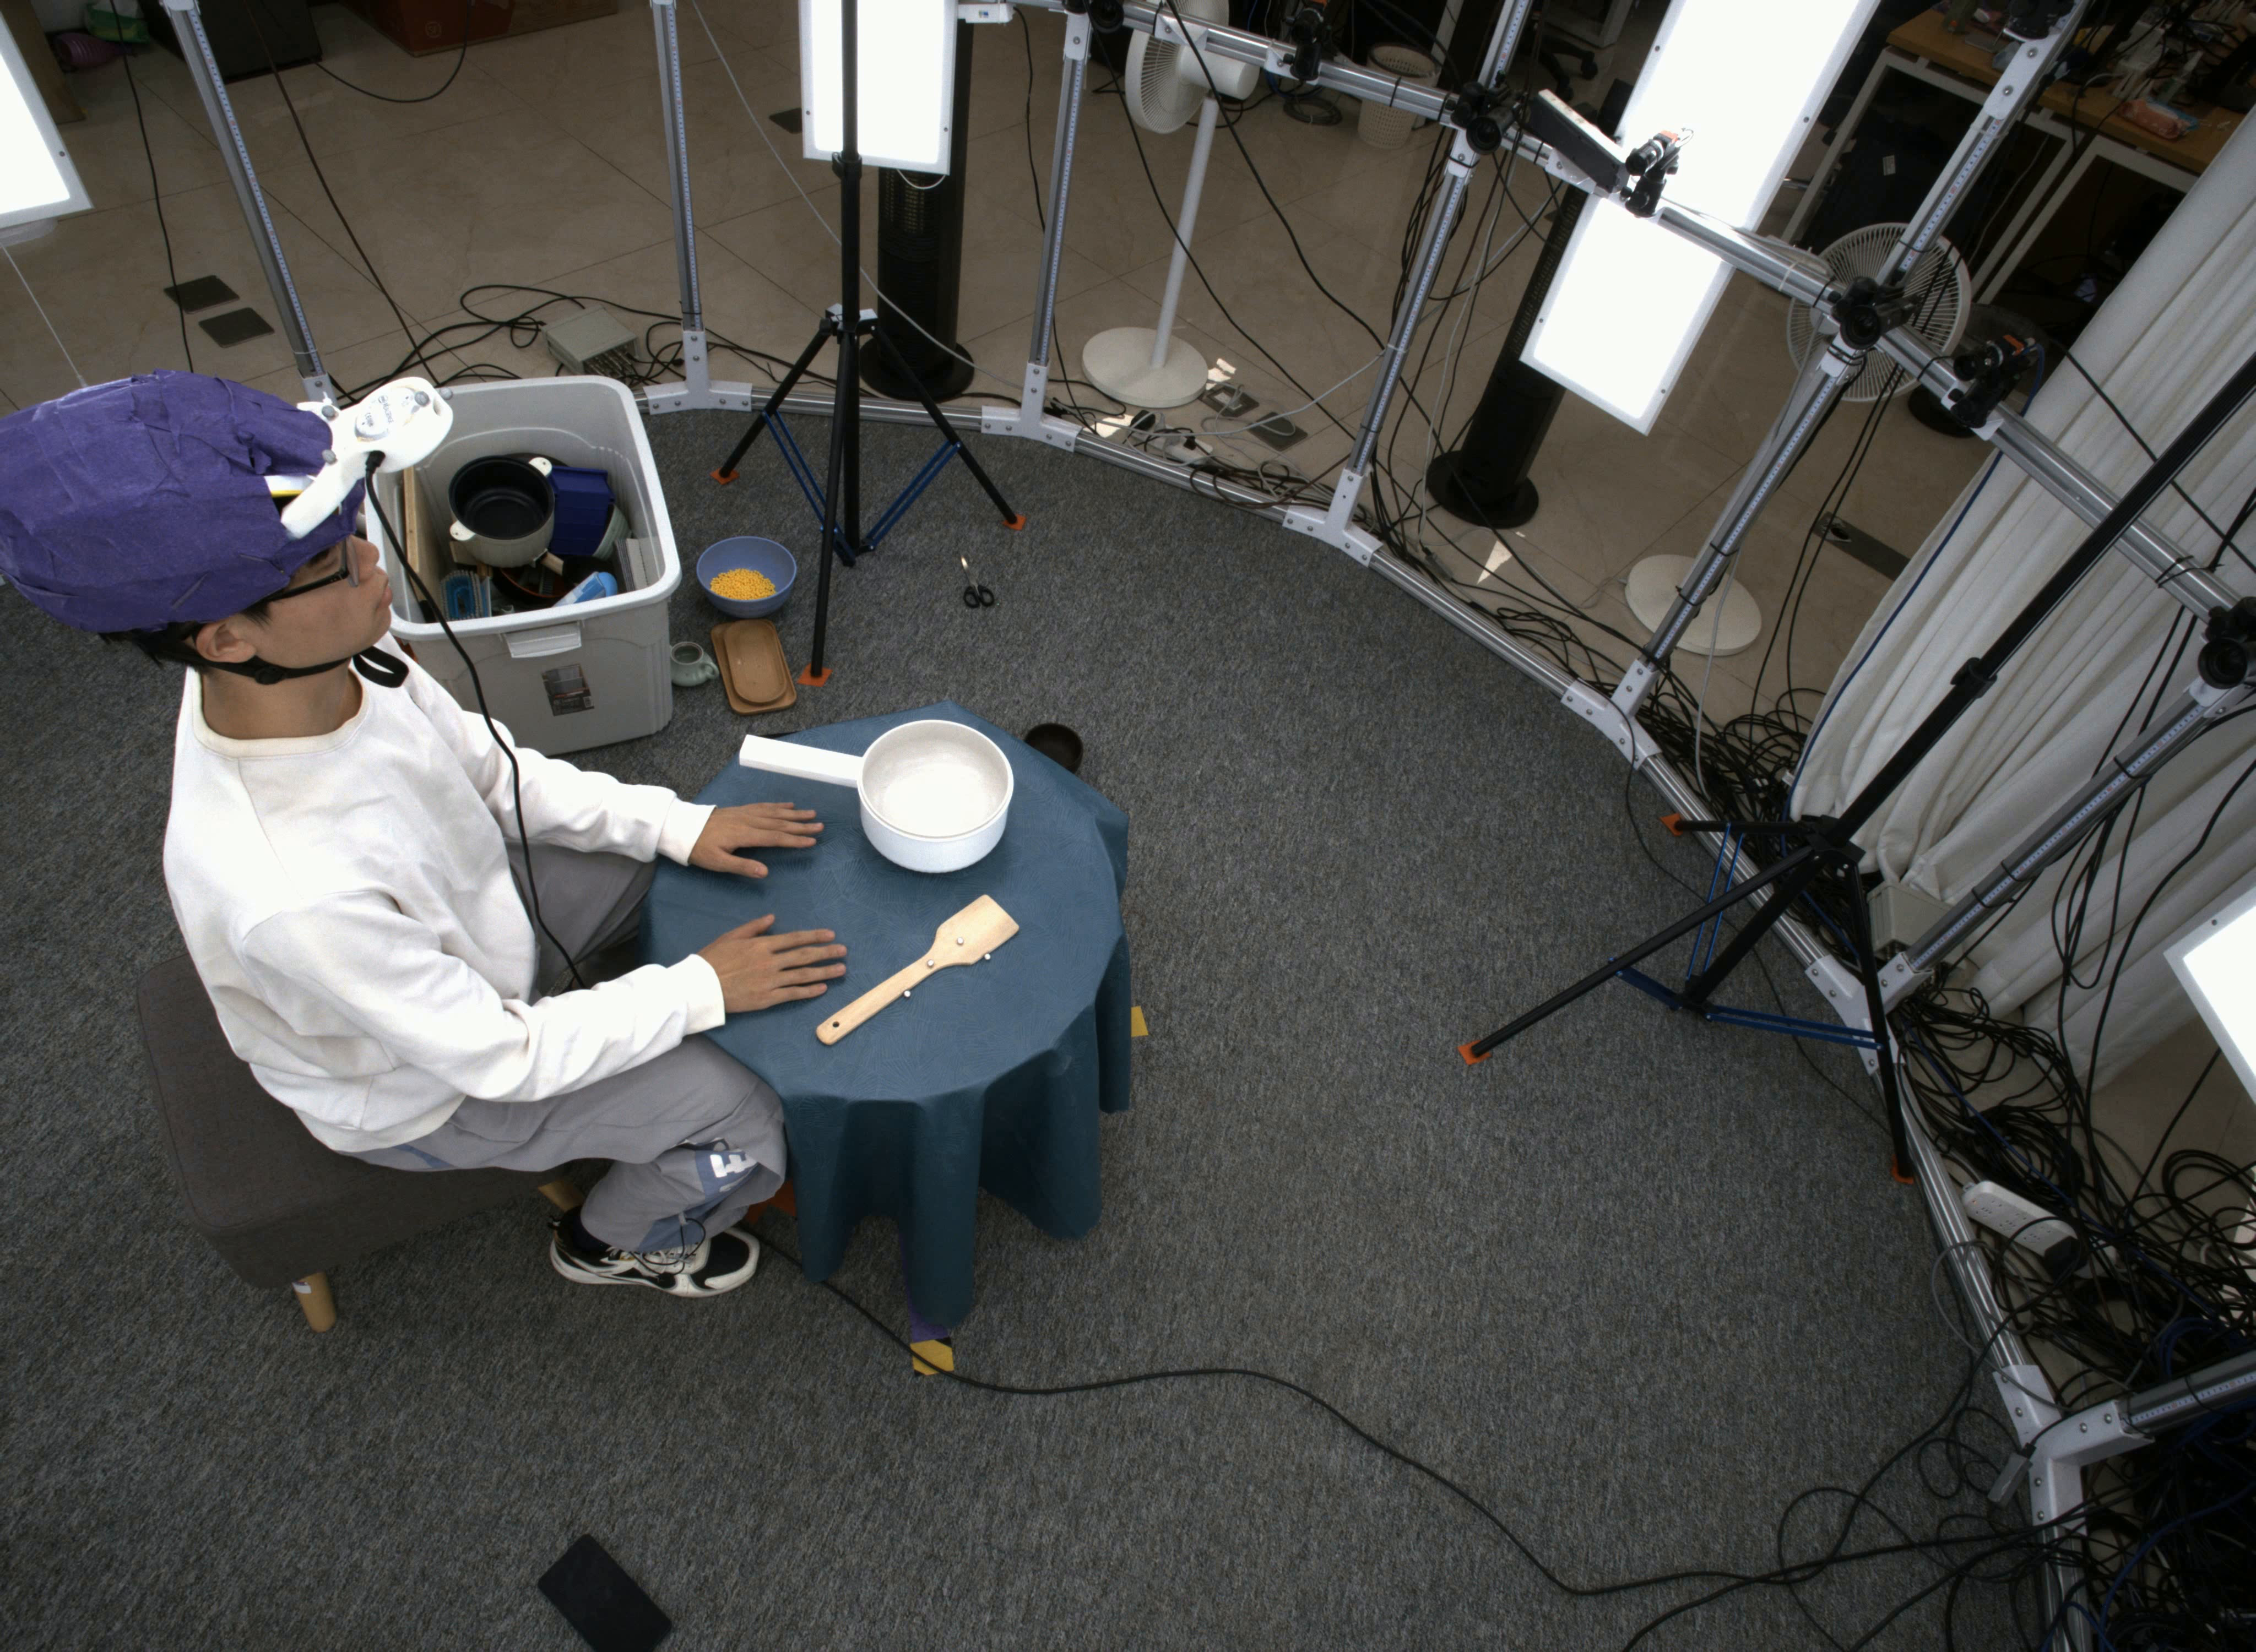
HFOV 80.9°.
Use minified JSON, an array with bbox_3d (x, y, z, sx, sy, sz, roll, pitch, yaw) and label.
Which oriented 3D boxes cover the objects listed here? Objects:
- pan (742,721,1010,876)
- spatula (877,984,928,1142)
[{"bbox_3d":[-0.333,-0.043,1.737,0.352,0.104,0.198,9,56,-3],"label":"pan"},{"bbox_3d":[-0.389,0.384,2.164,0.072,0.011,0.286,-6,55,-15],"label":"spatula"}]
